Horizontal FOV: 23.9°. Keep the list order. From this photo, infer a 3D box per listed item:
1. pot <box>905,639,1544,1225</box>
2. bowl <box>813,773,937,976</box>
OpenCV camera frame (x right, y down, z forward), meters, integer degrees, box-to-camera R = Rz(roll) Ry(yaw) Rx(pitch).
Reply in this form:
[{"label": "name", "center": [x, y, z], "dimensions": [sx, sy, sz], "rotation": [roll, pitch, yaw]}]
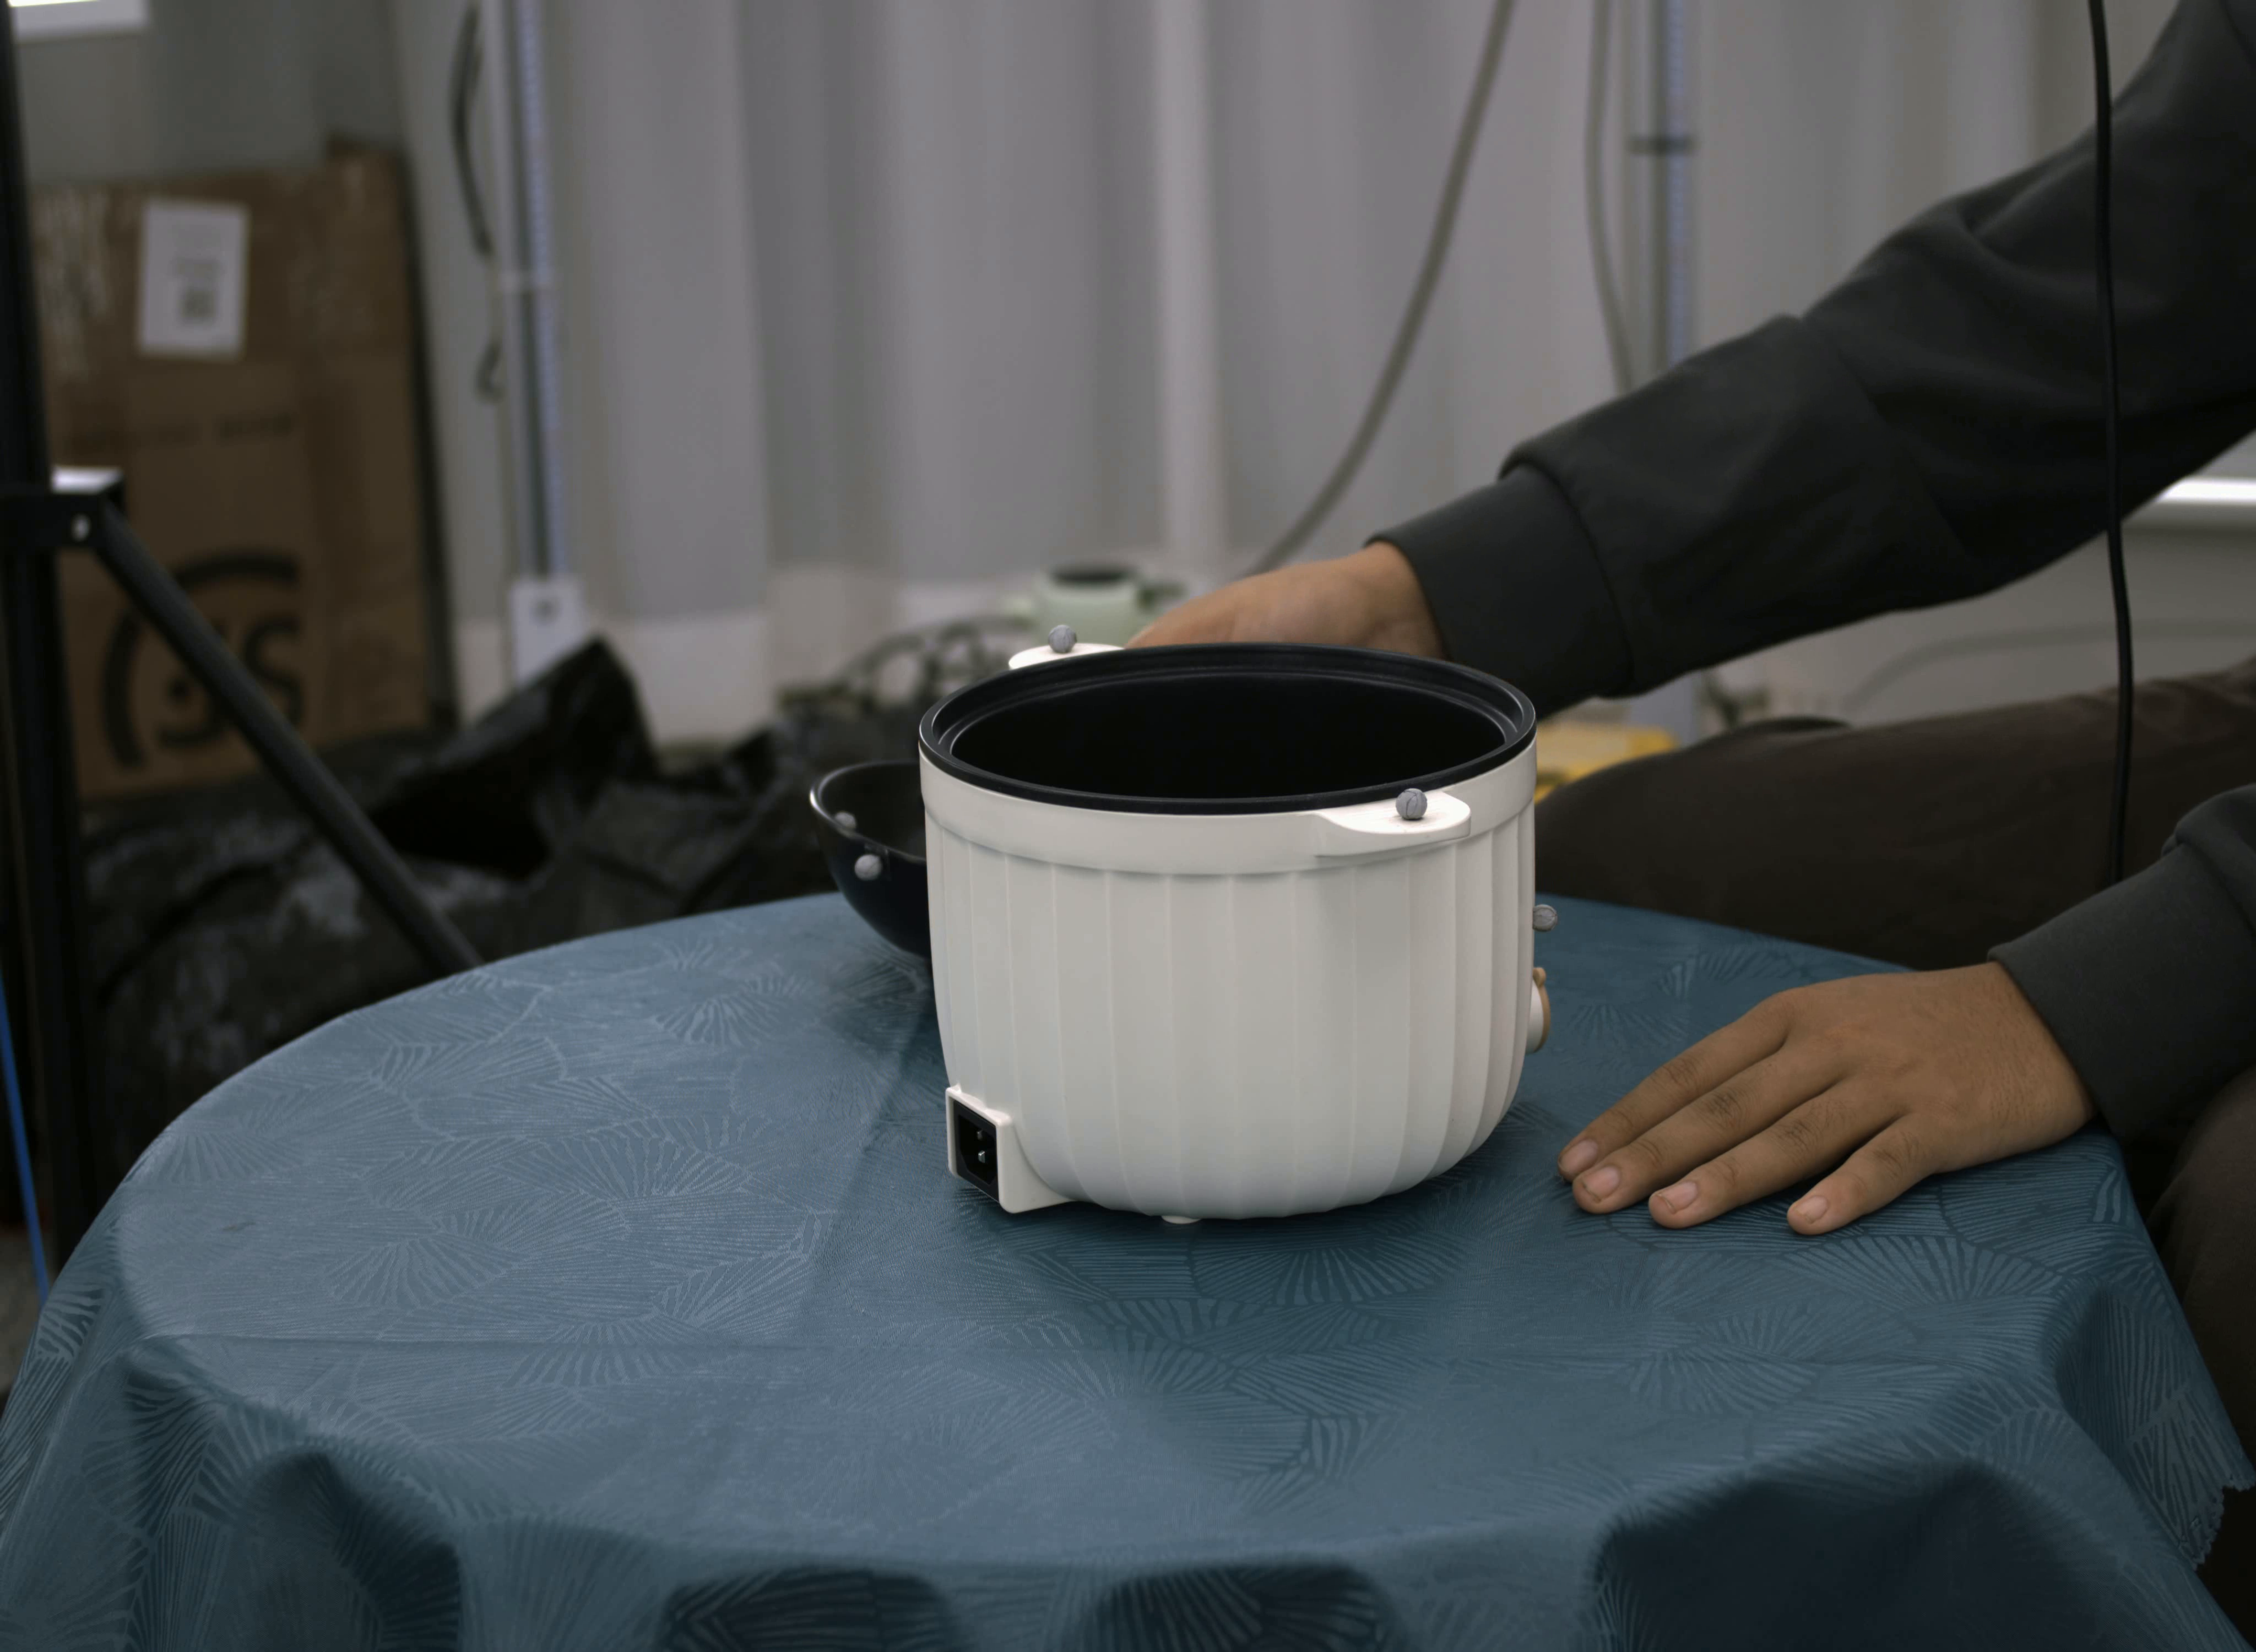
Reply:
[{"label": "pot", "center": [0.034, 0.031, 1.571], "dimensions": [0.187, 0.142, 0.245], "rotation": [-13, 20, -25]}, {"label": "bowl", "center": [-0.035, 0.018, 1.763], "dimensions": [0.136, 0.067, 0.172], "rotation": [-4, 14, -6]}]
